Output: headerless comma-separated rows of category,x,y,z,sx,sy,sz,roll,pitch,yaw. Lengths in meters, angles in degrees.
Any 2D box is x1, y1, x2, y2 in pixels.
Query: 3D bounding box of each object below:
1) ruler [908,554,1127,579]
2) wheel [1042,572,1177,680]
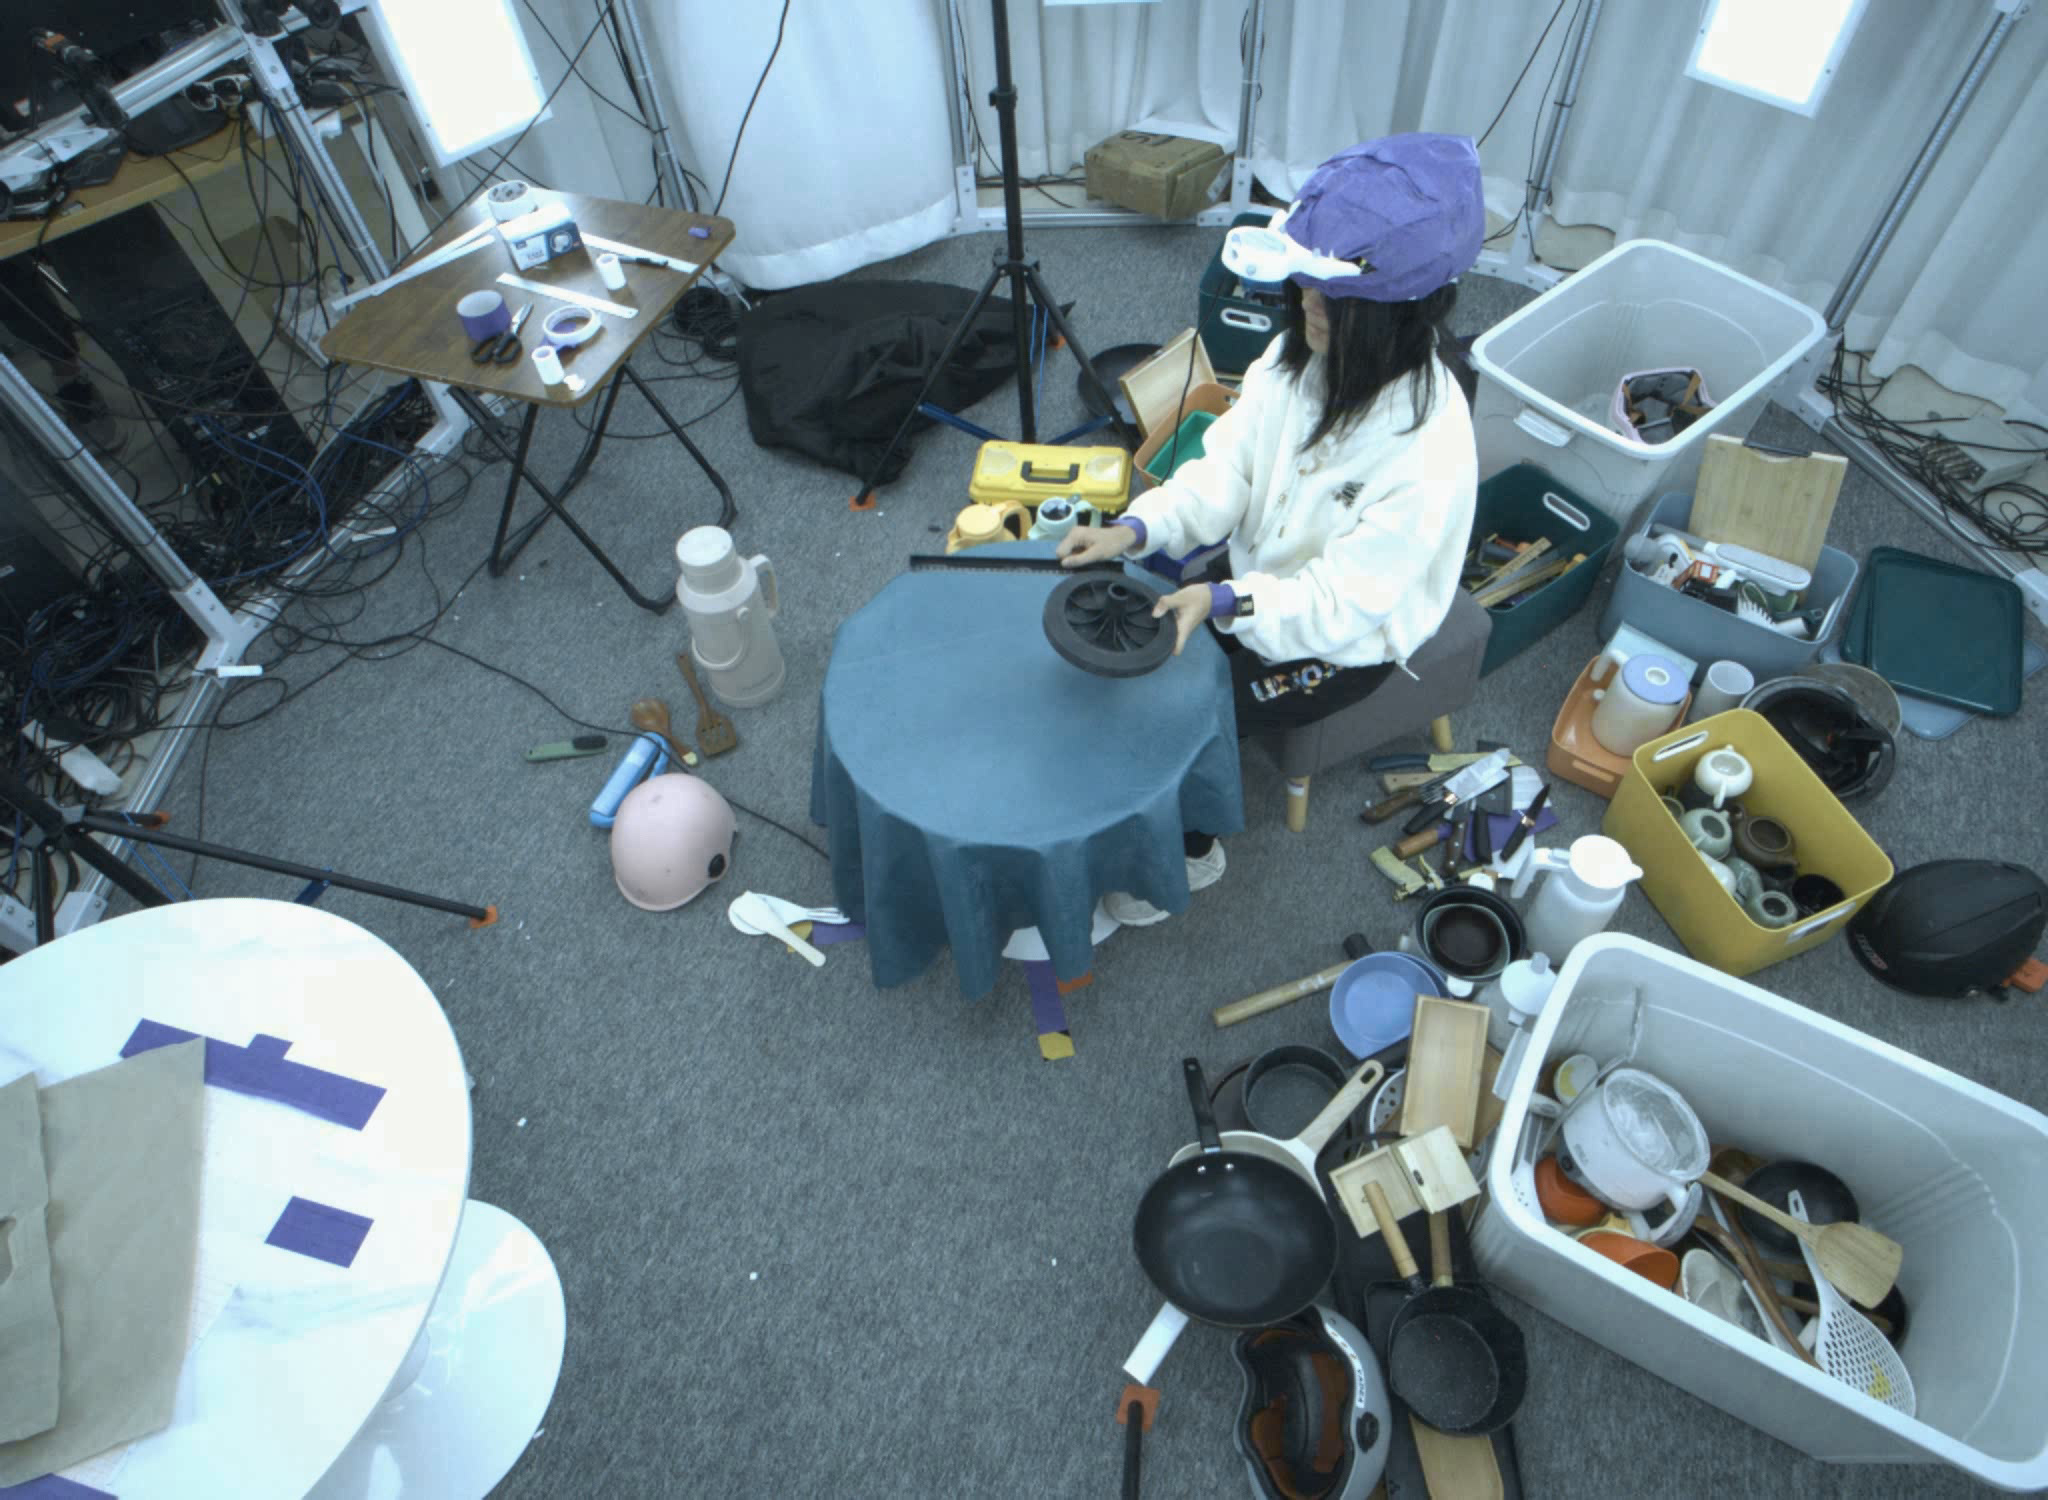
ruler,-0.010,-0.263,1.748,0.314,0.017,0.039,1,32,-8
wheel,0.122,-0.186,1.684,0.187,0.079,0.189,41,56,17
